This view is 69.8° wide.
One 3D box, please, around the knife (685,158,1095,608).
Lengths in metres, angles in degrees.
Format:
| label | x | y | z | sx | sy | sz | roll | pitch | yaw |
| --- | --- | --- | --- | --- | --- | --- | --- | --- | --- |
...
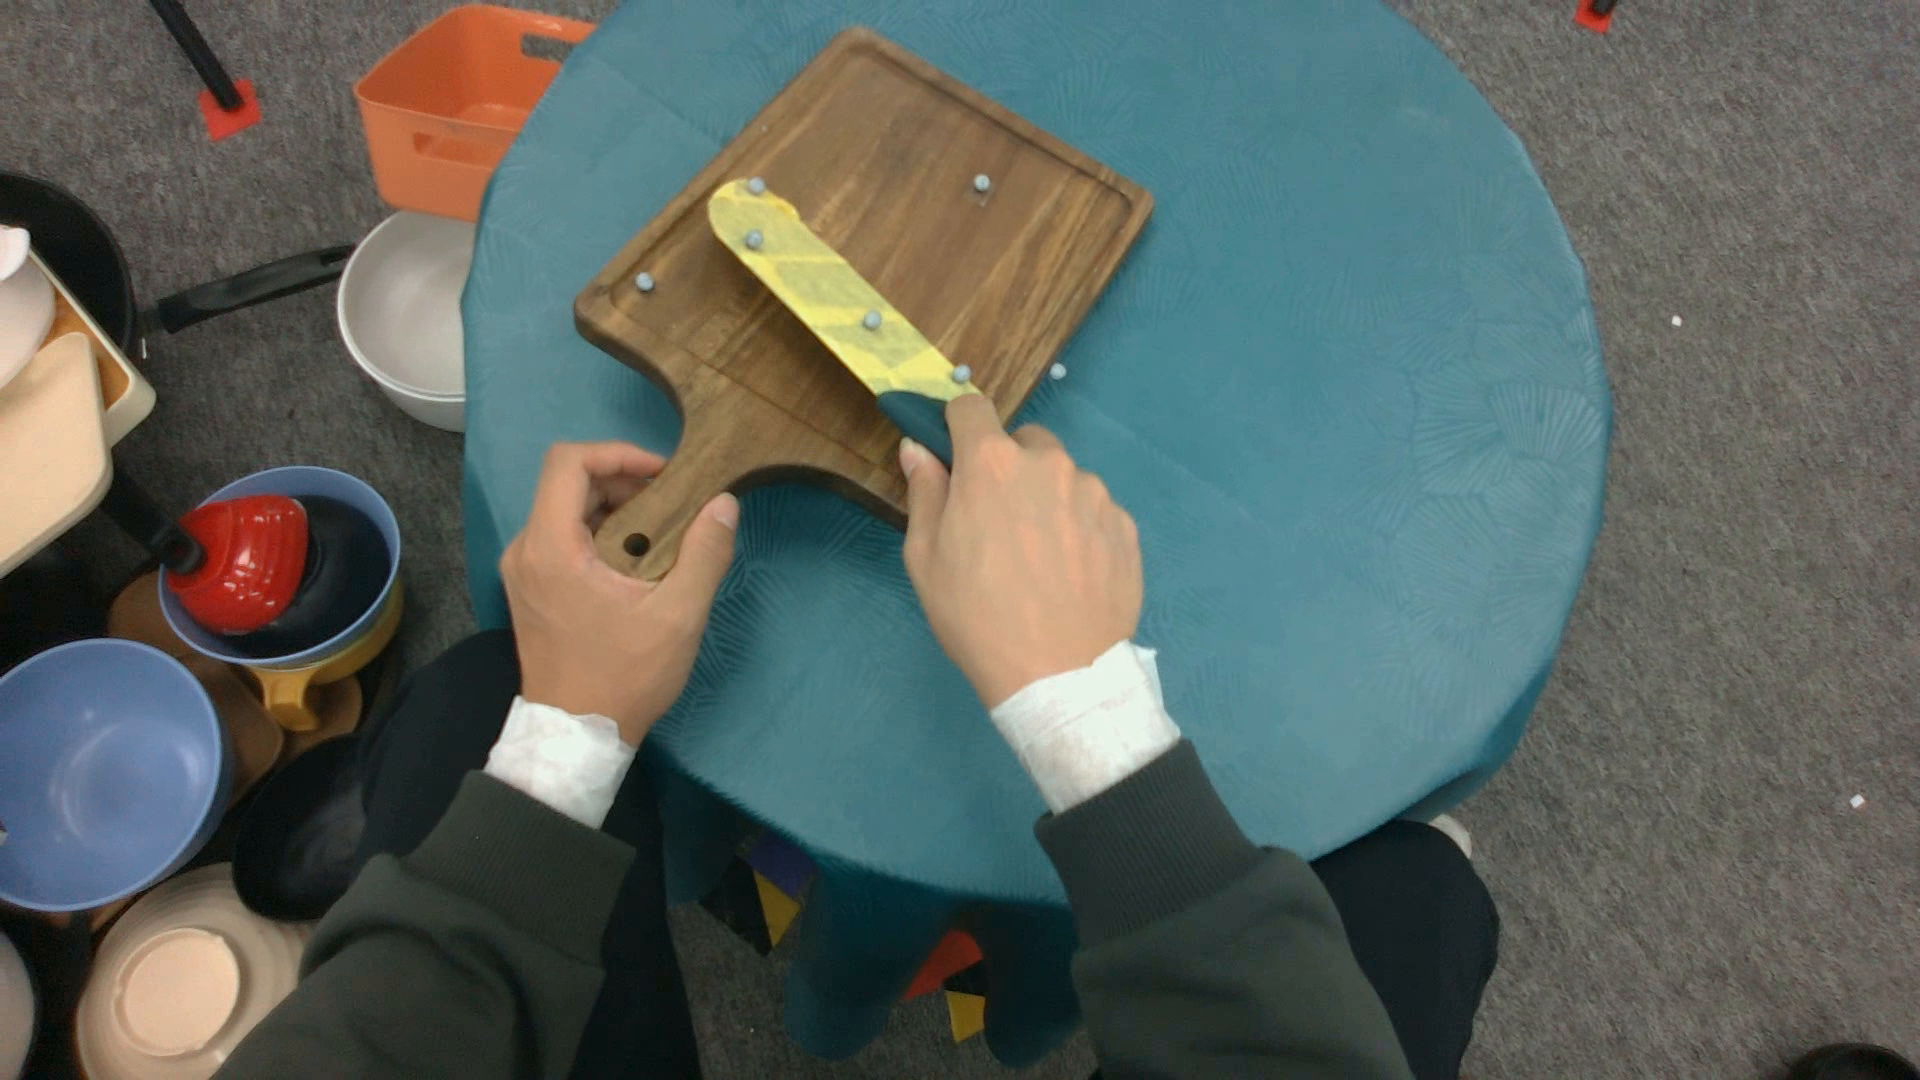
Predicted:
| label | x | y | z | sx | sy | sz | roll | pitch | yaw |
| --- | --- | --- | --- | --- | --- | --- | --- | --- | --- |
| knife | -0.033 | -0.081 | 0.620 | 0.290 | 0.027 | 0.081 | 49 | 34 | 19 |

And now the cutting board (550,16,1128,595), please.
| label | x | y | z | sx | sy | sz | roll | pitch | yaw |
| --- | --- | --- | --- | --- | --- | --- | --- | --- | --- |
| cutting board | -0.072 | -0.112 | 0.661 | 0.201 | 0.023 | 0.354 | 30 | 59 | 4 |
